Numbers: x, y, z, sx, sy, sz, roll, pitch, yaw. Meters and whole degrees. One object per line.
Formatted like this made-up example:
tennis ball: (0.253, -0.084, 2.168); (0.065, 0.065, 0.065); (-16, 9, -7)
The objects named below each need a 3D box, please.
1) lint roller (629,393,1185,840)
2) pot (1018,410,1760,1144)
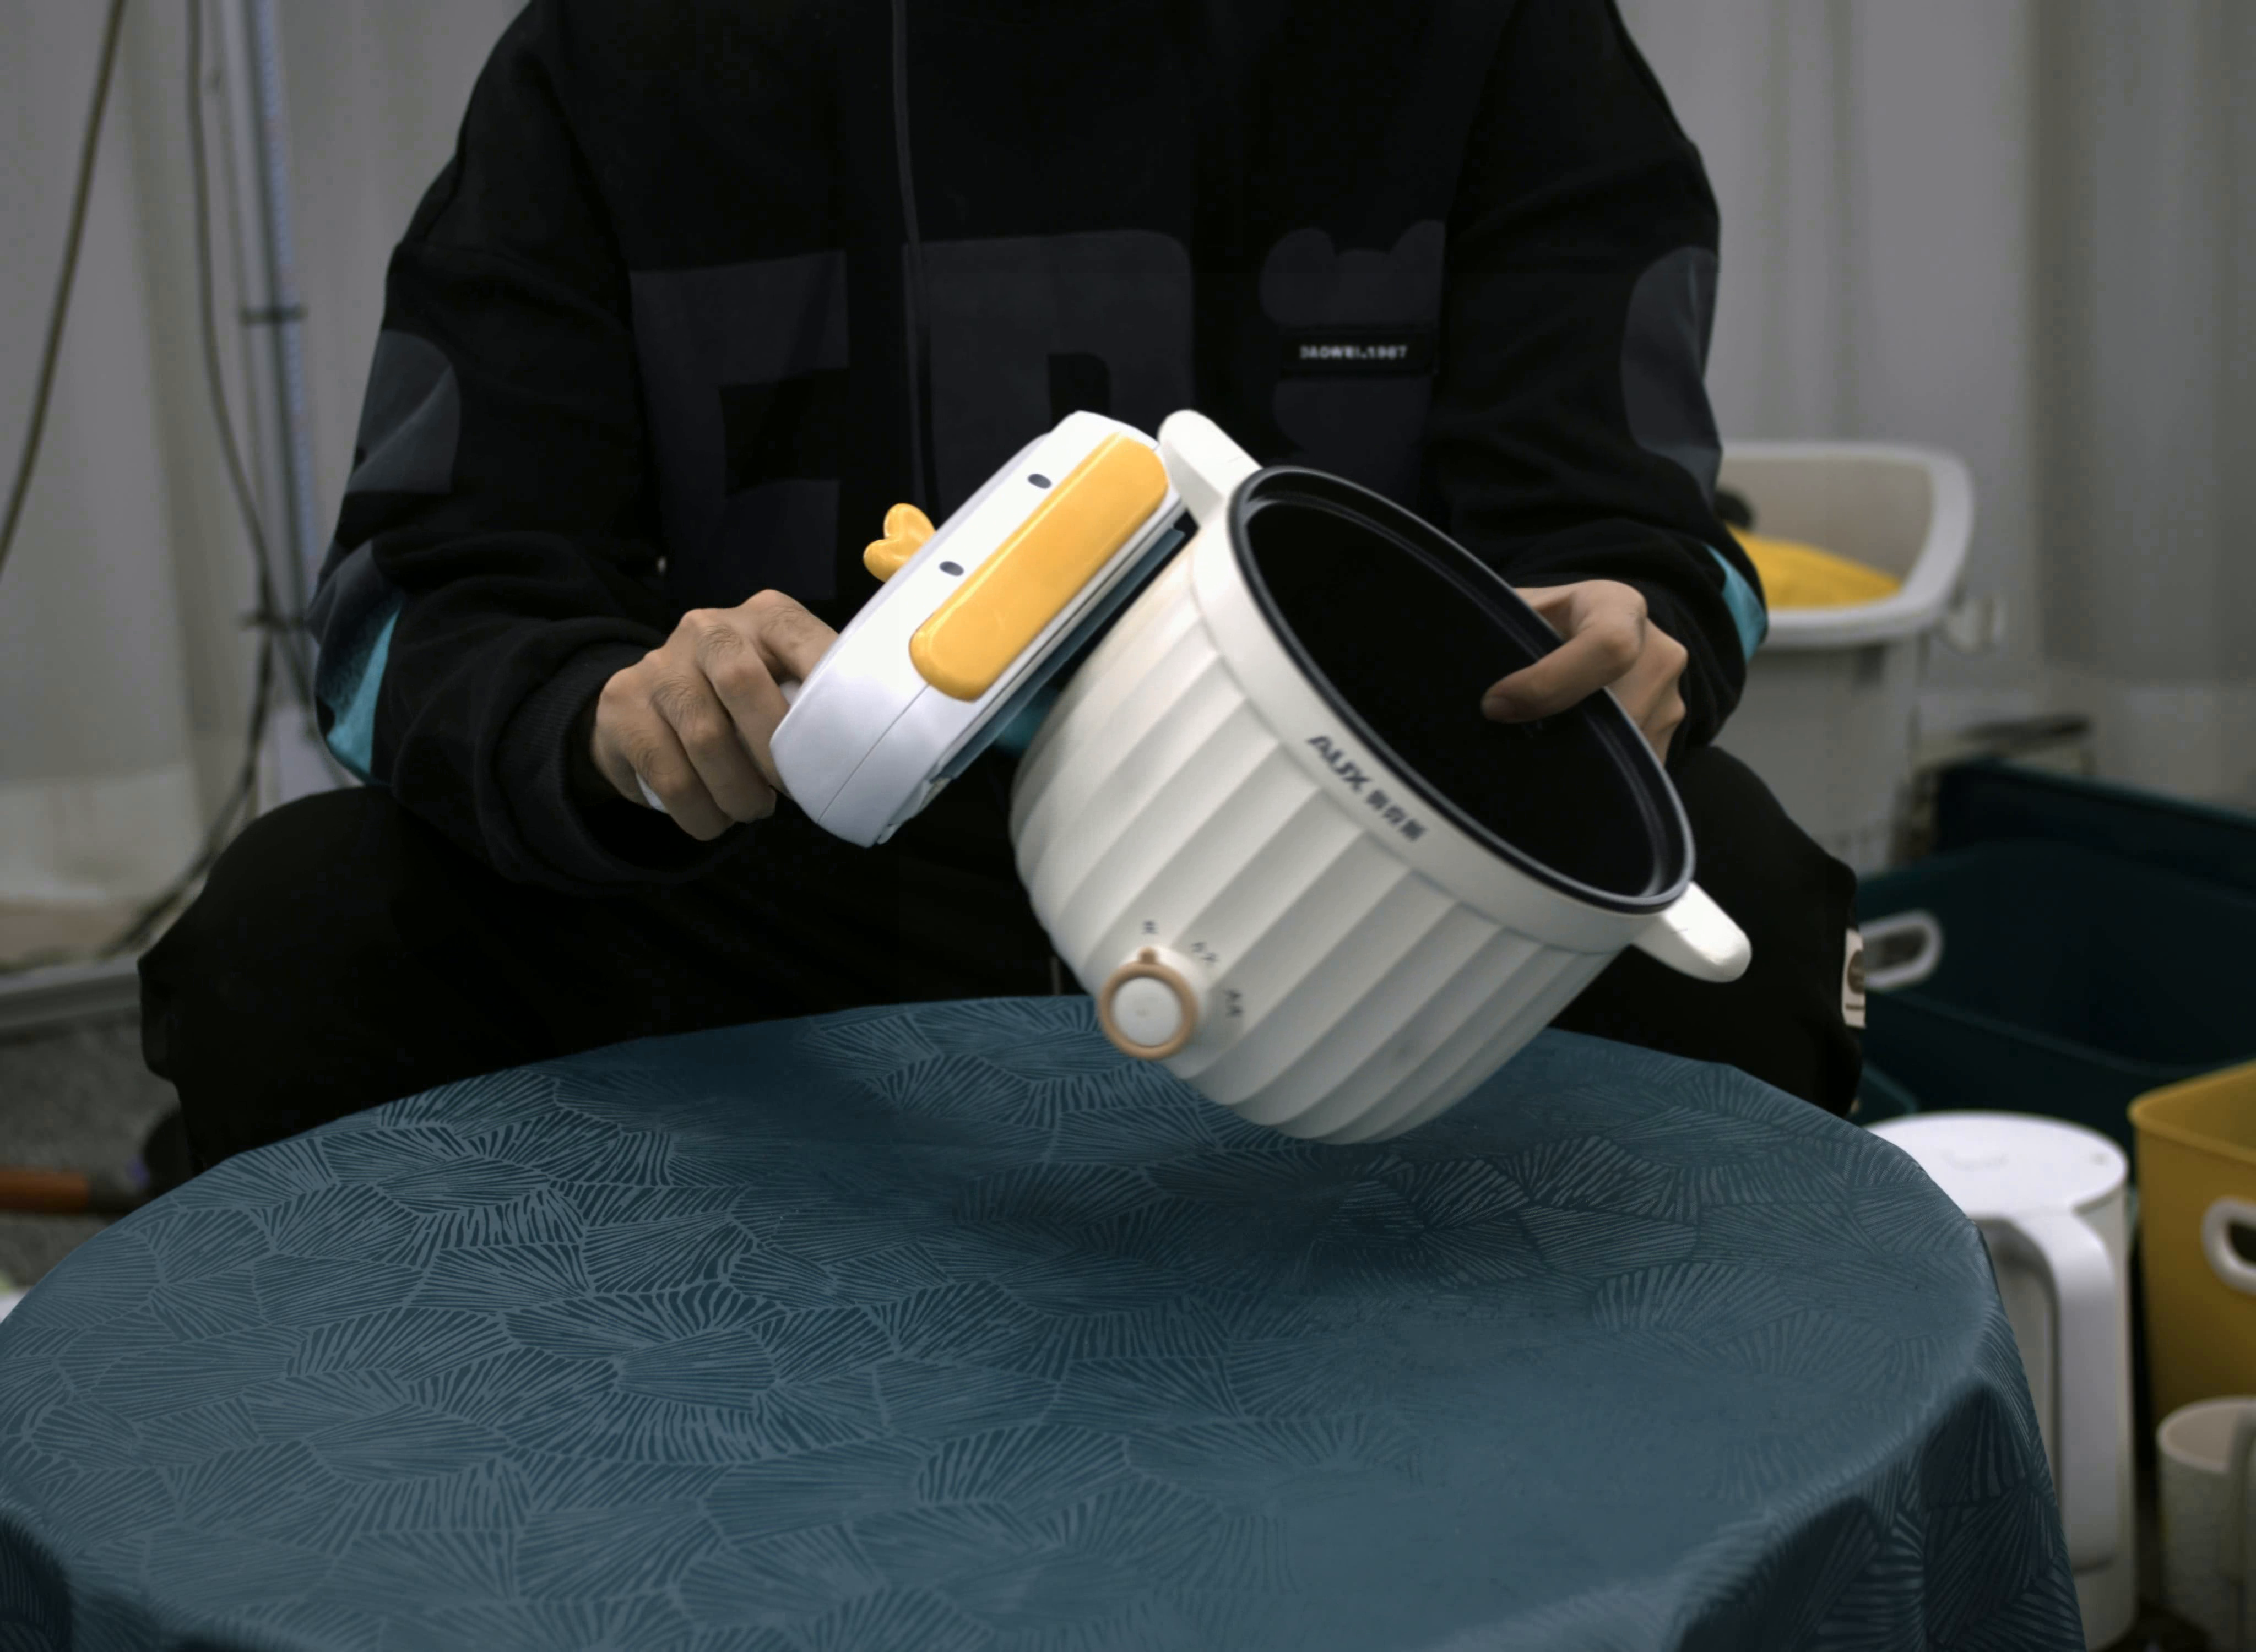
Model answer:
lint roller: (-0.082, -0.043, 1.717); (0.191, 0.074, 0.194); (-40, 11, 38)
pot: (0.061, 0.003, 1.654); (0.240, 0.142, 0.191); (42, 20, 3)
